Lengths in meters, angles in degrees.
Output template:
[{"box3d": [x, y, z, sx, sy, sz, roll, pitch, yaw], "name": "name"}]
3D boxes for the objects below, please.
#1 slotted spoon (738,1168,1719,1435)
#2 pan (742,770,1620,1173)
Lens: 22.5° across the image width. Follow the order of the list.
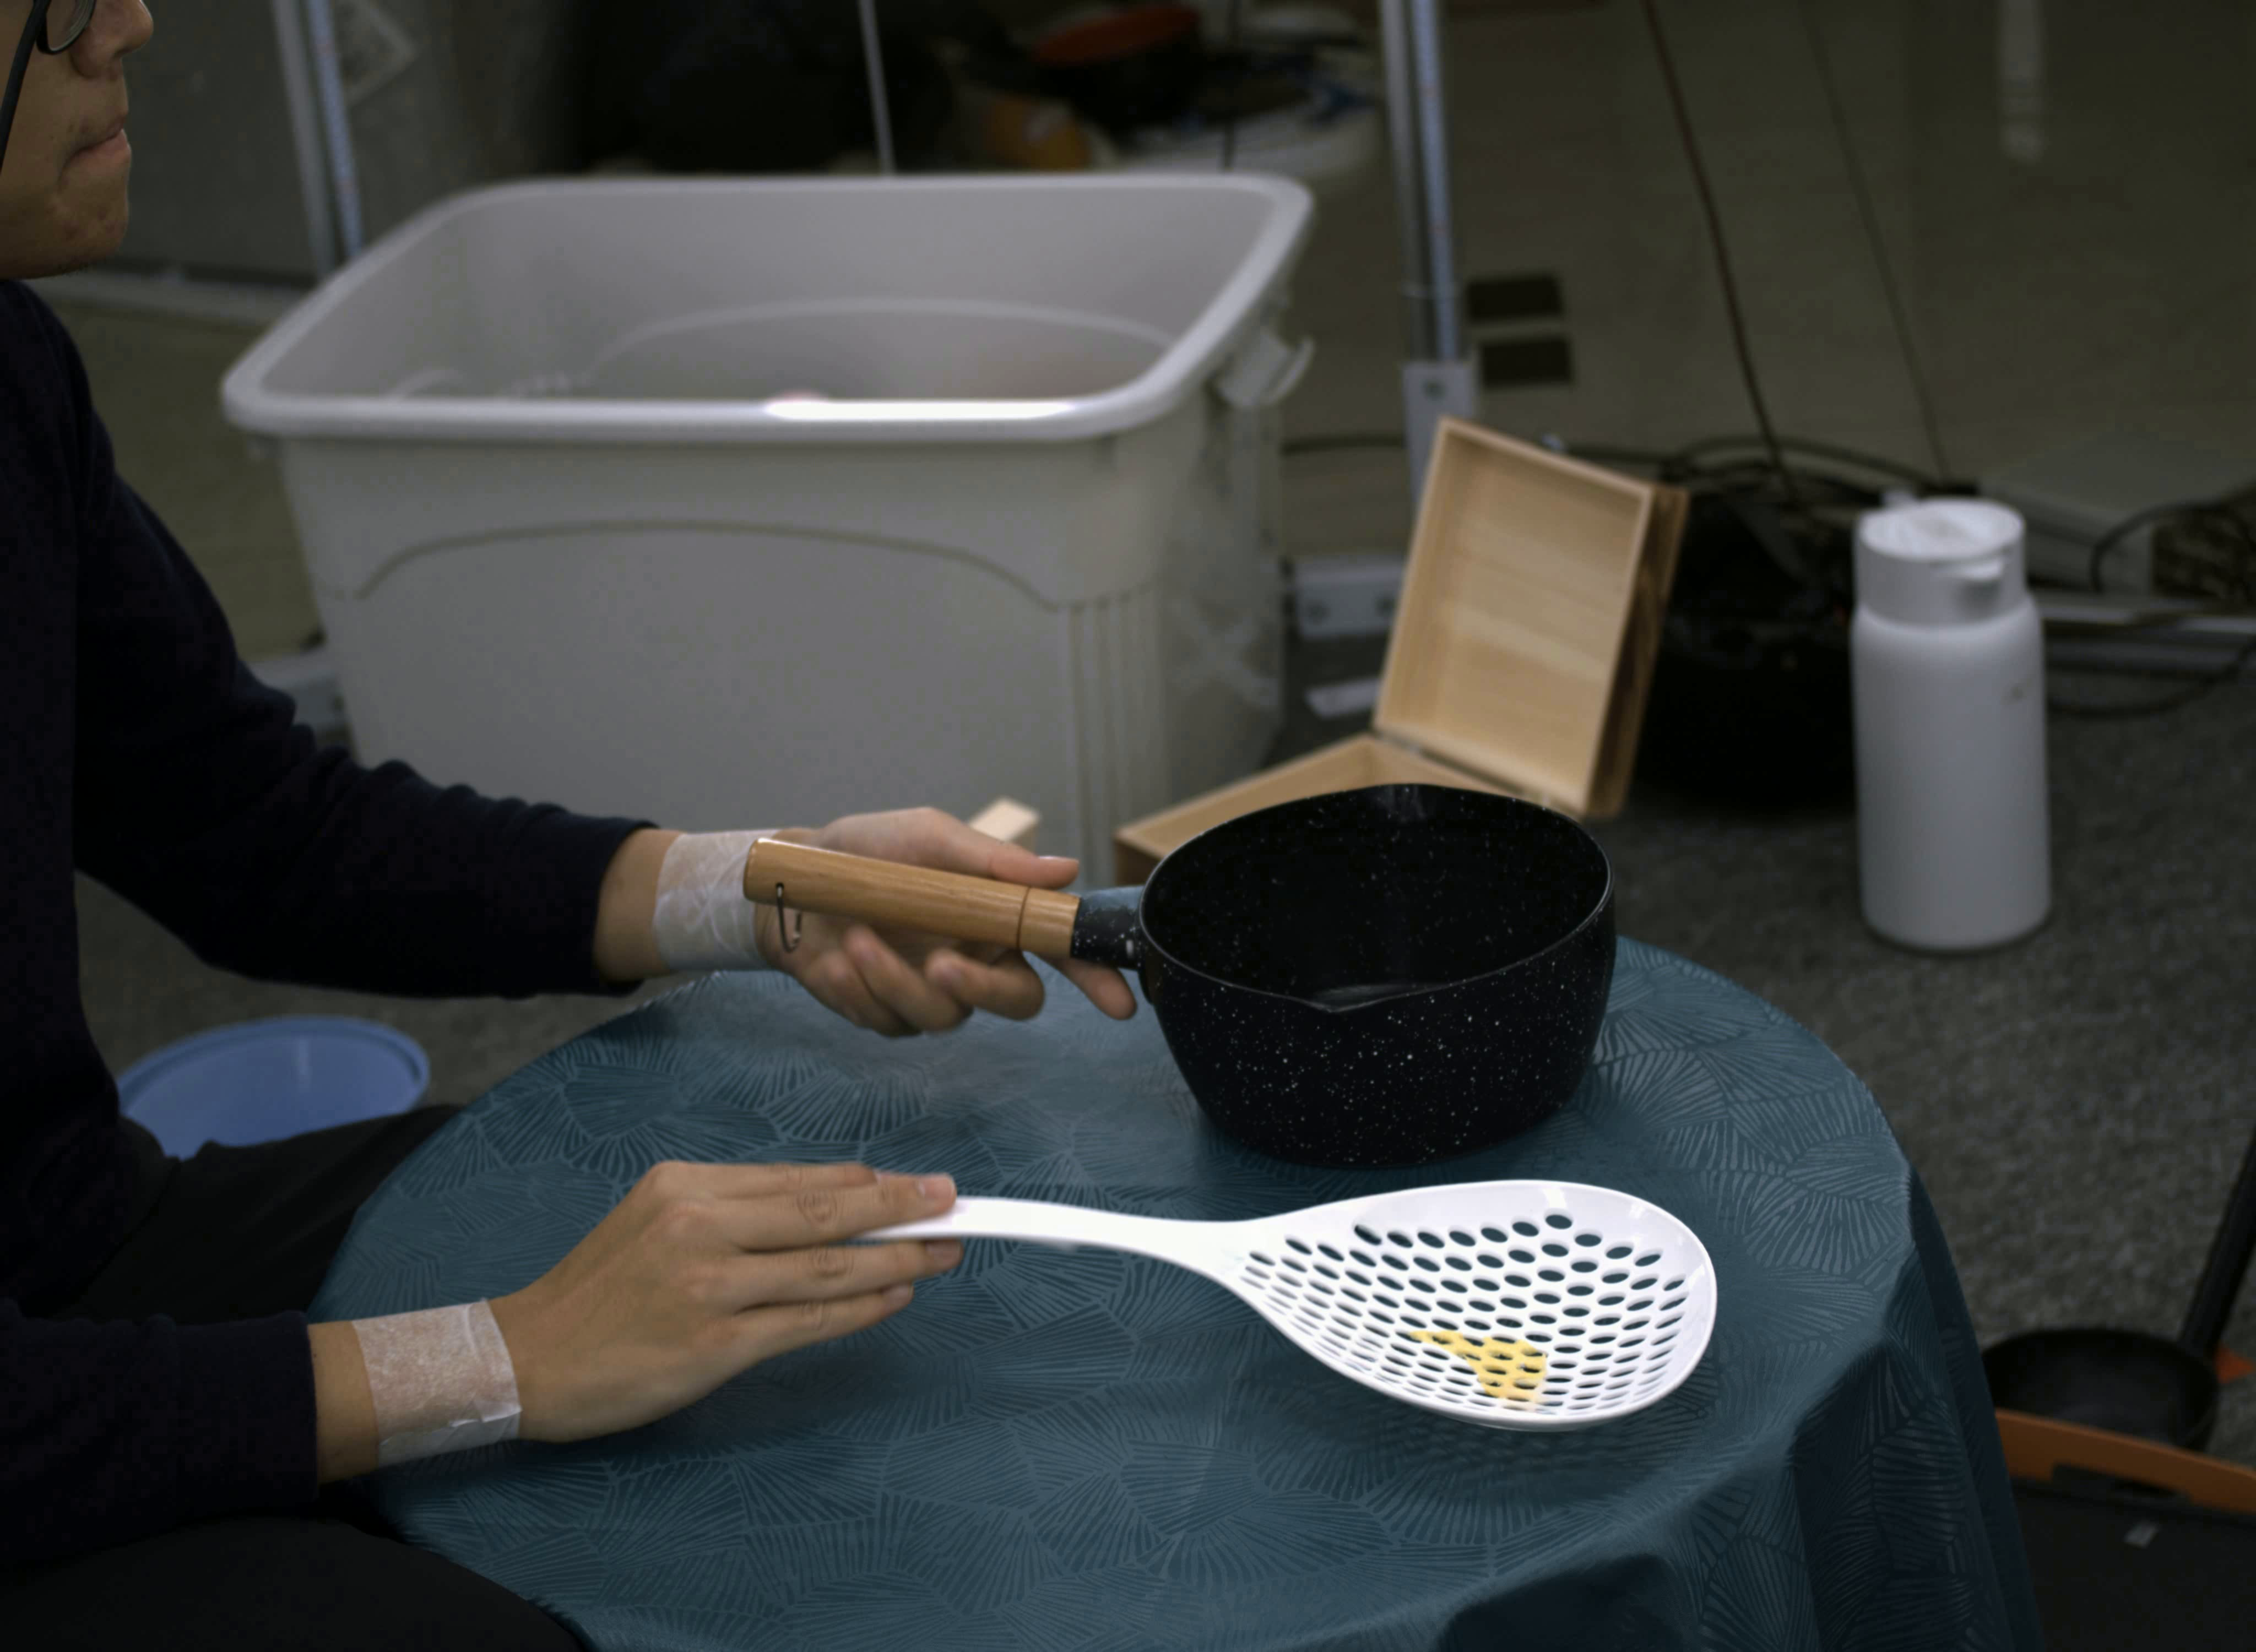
[{"box3d": [0.033, 0.158, 1.998, 0.347, 0.051, 0.134, 11, 37, 8], "name": "slotted spoon"}, {"box3d": [0.020, 0.052, 2.197, 0.342, 0.110, 0.204, 0, 27, 9], "name": "pan"}]
